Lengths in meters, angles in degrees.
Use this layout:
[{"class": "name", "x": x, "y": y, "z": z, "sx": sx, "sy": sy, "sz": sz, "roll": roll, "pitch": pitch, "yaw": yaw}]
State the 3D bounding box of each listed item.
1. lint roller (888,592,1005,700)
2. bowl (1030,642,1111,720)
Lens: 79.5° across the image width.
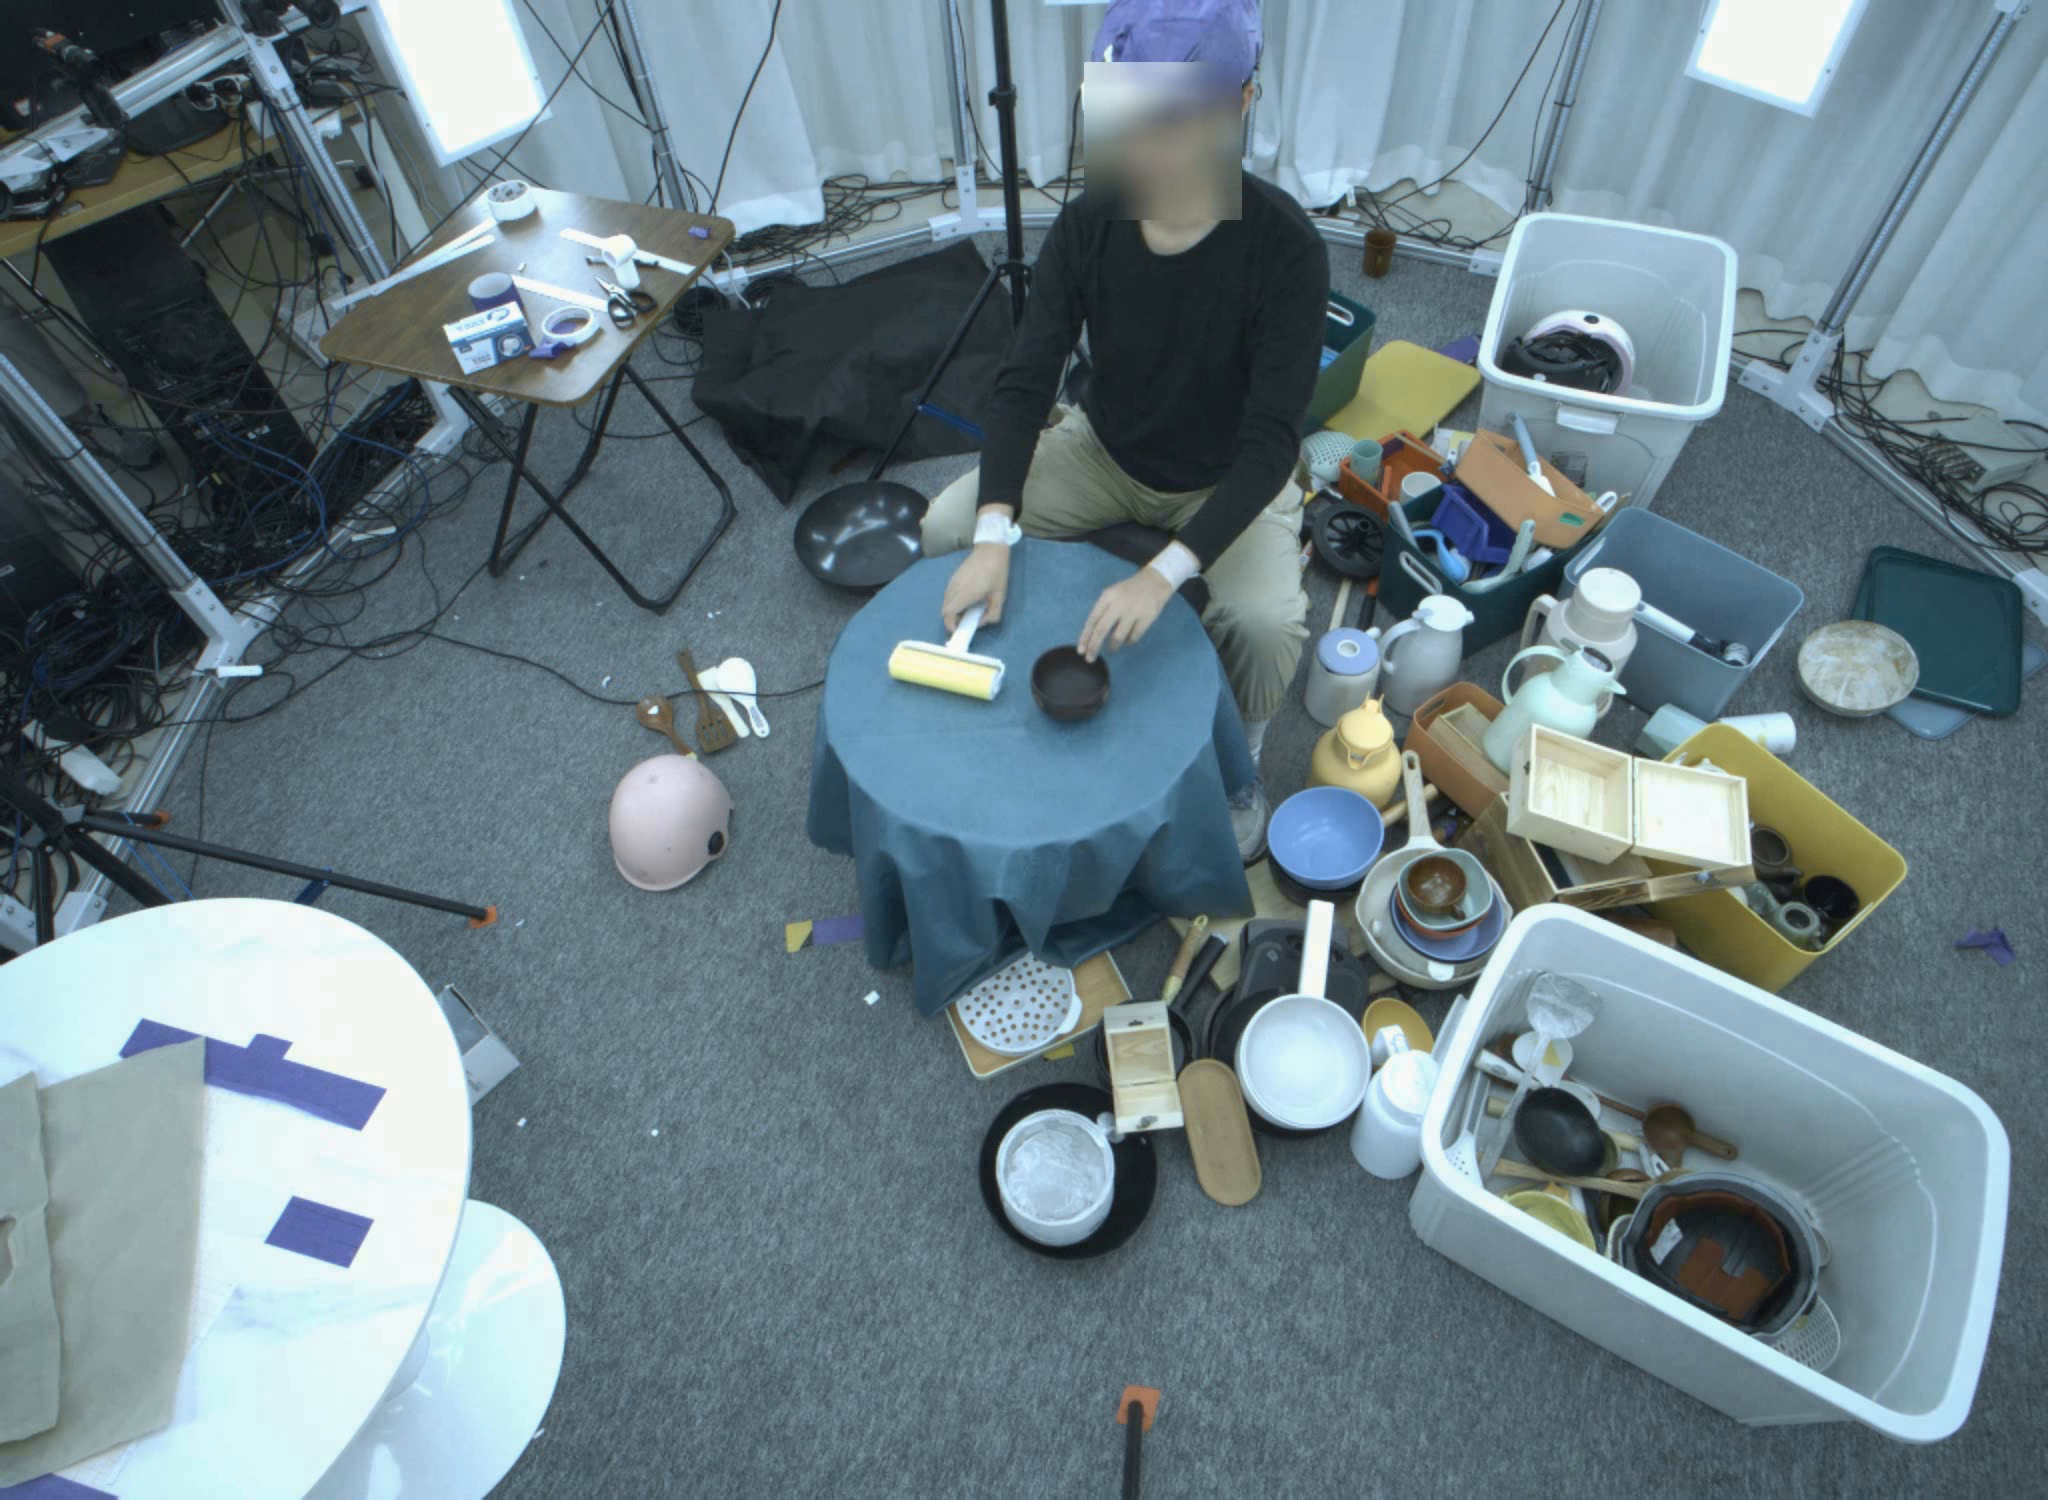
[{"class": "lint roller", "x": -0.101, "y": -0.175, "z": 1.877, "sx": 0.173, "sy": 0.052, "sz": 0.191, "roll": 13, "pitch": 65, "yaw": 10}, {"class": "bowl", "x": 0.069, "y": -0.093, "z": 1.805, "sx": 0.118, "sy": 0.070, "sz": 0.117, "roll": -1, "pitch": 56, "yaw": 2}]
